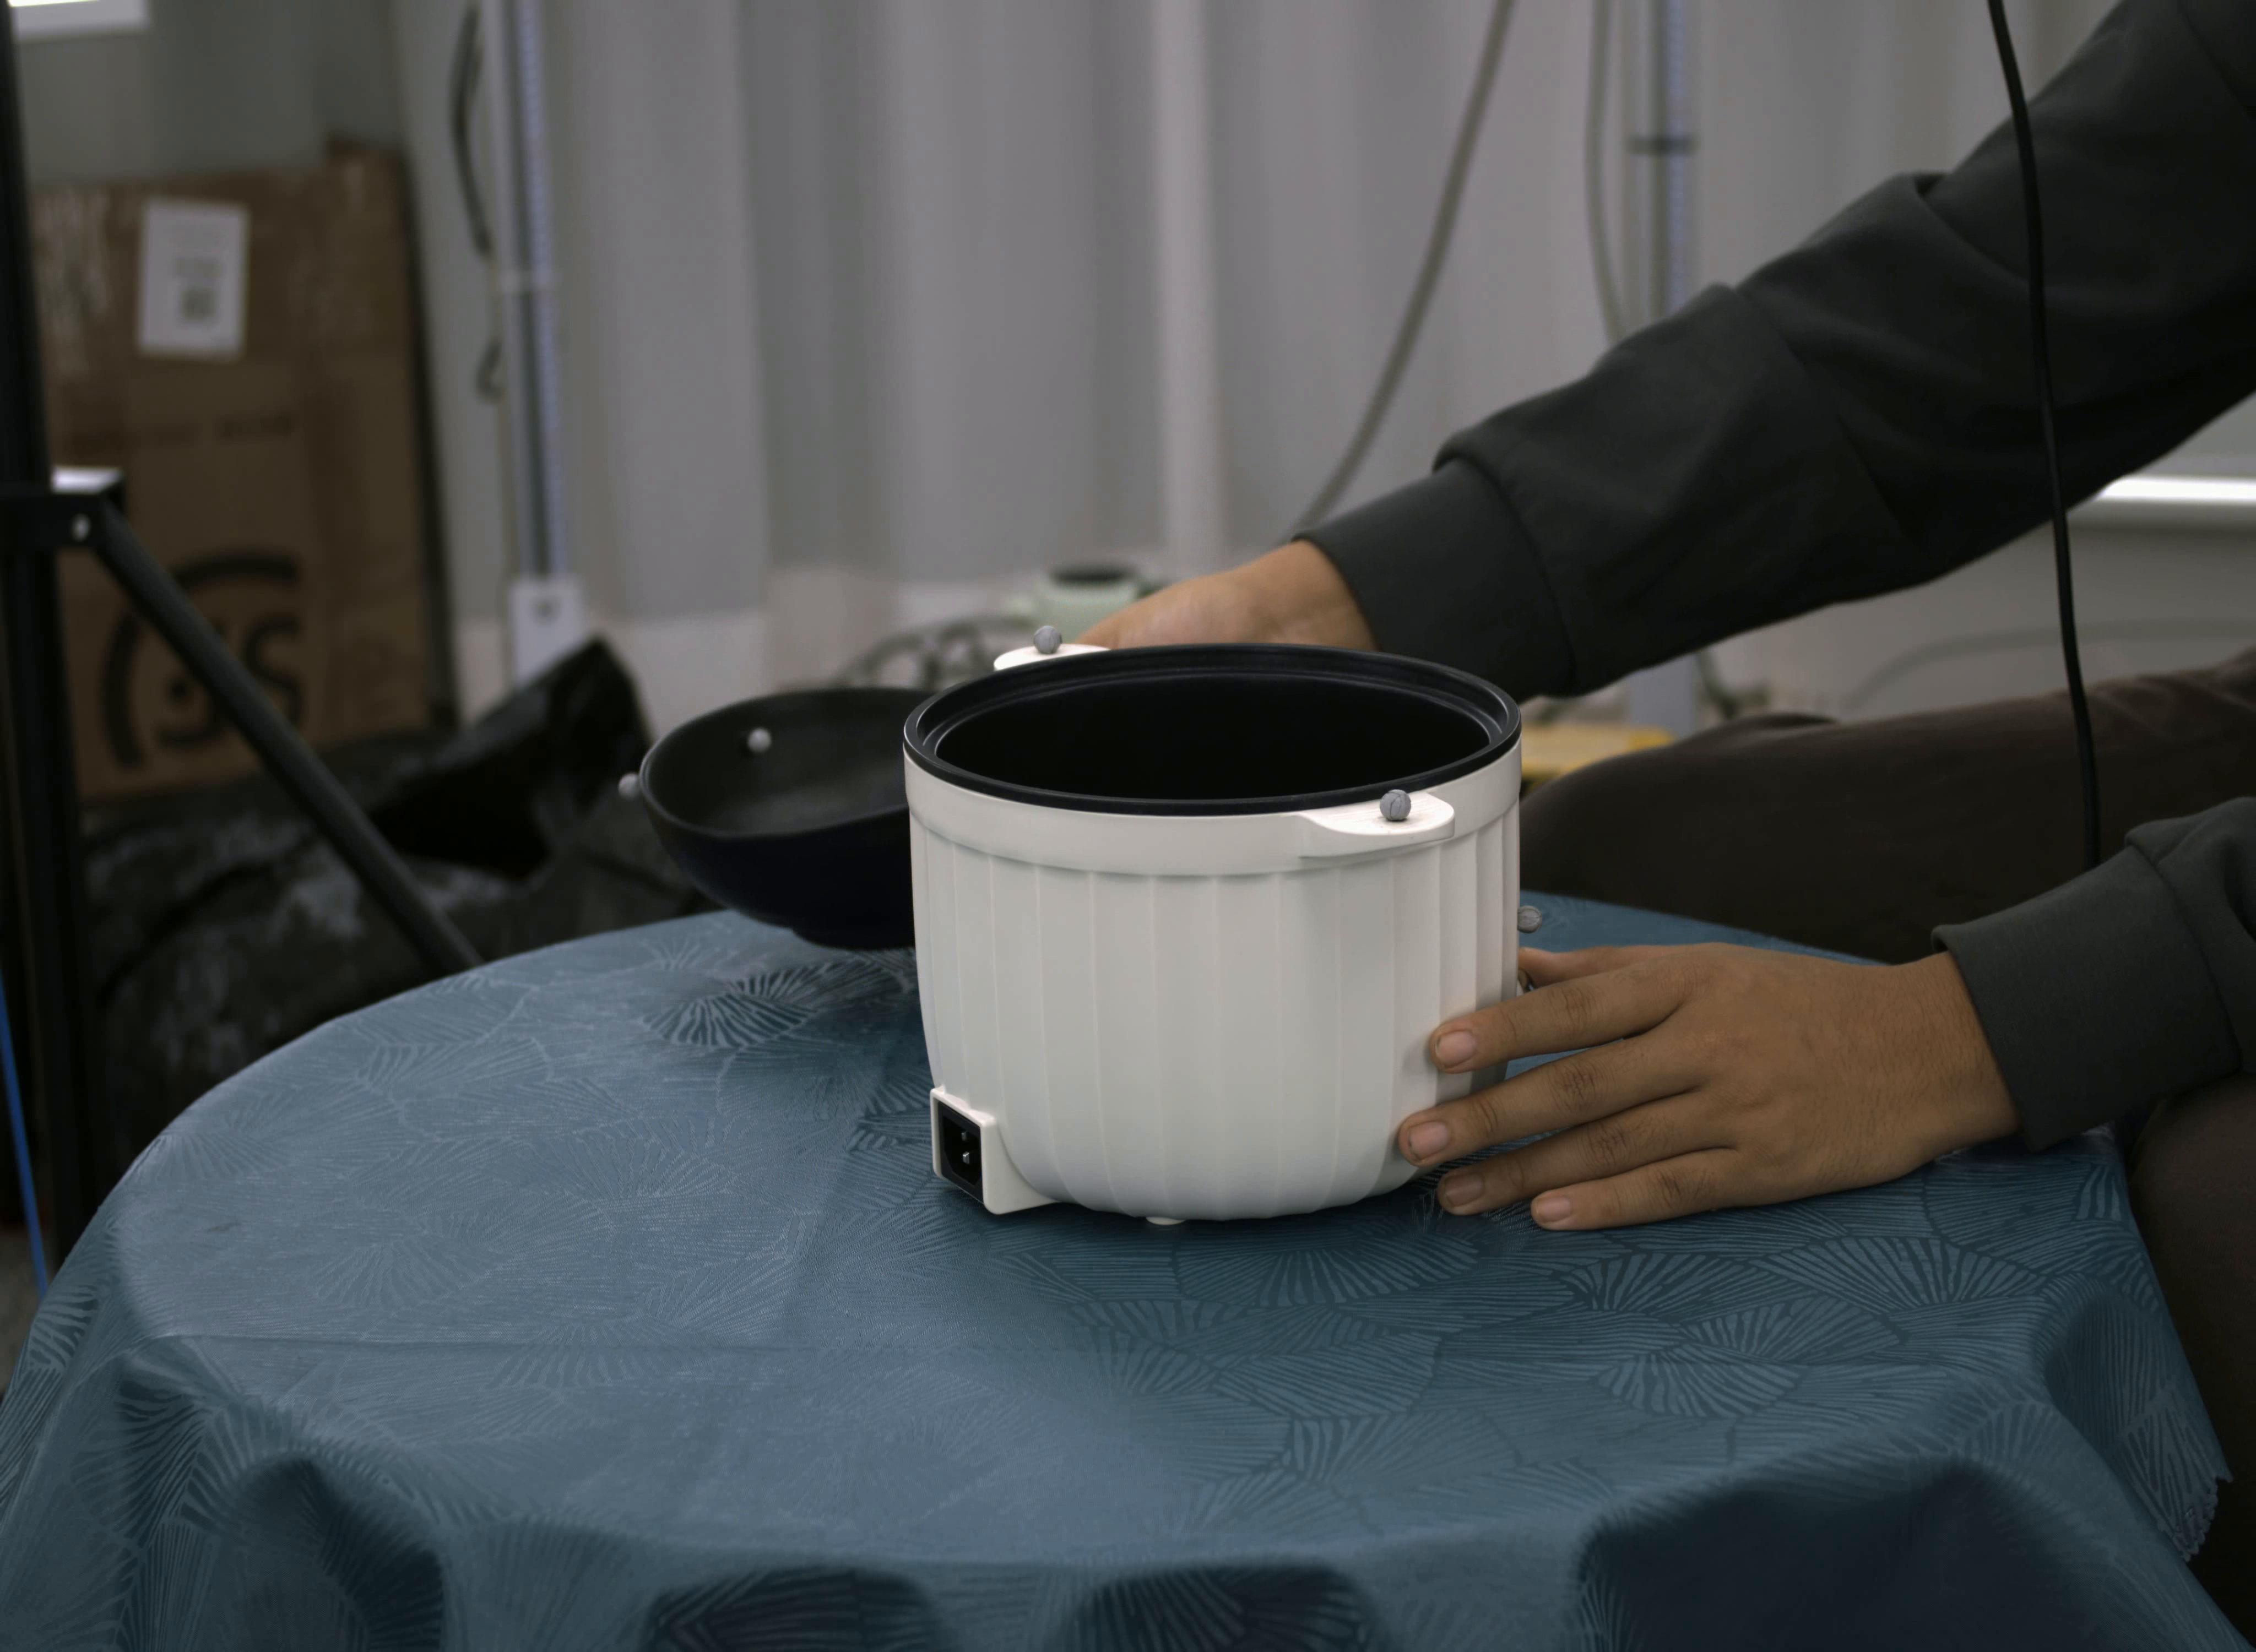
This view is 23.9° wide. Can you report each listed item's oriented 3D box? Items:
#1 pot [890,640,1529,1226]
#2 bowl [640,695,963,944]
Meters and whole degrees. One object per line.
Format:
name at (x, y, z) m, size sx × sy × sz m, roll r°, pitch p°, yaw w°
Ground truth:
pot at (0.030, 0.031, 1.570) m, size 0.187 × 0.142 × 0.245 m, roll -13°, pitch 20°, yaw -25°
bowl at (-0.083, -0.001, 1.766) m, size 0.140 × 0.066 × 0.167 m, roll 10°, pitch 21°, yaw 39°
